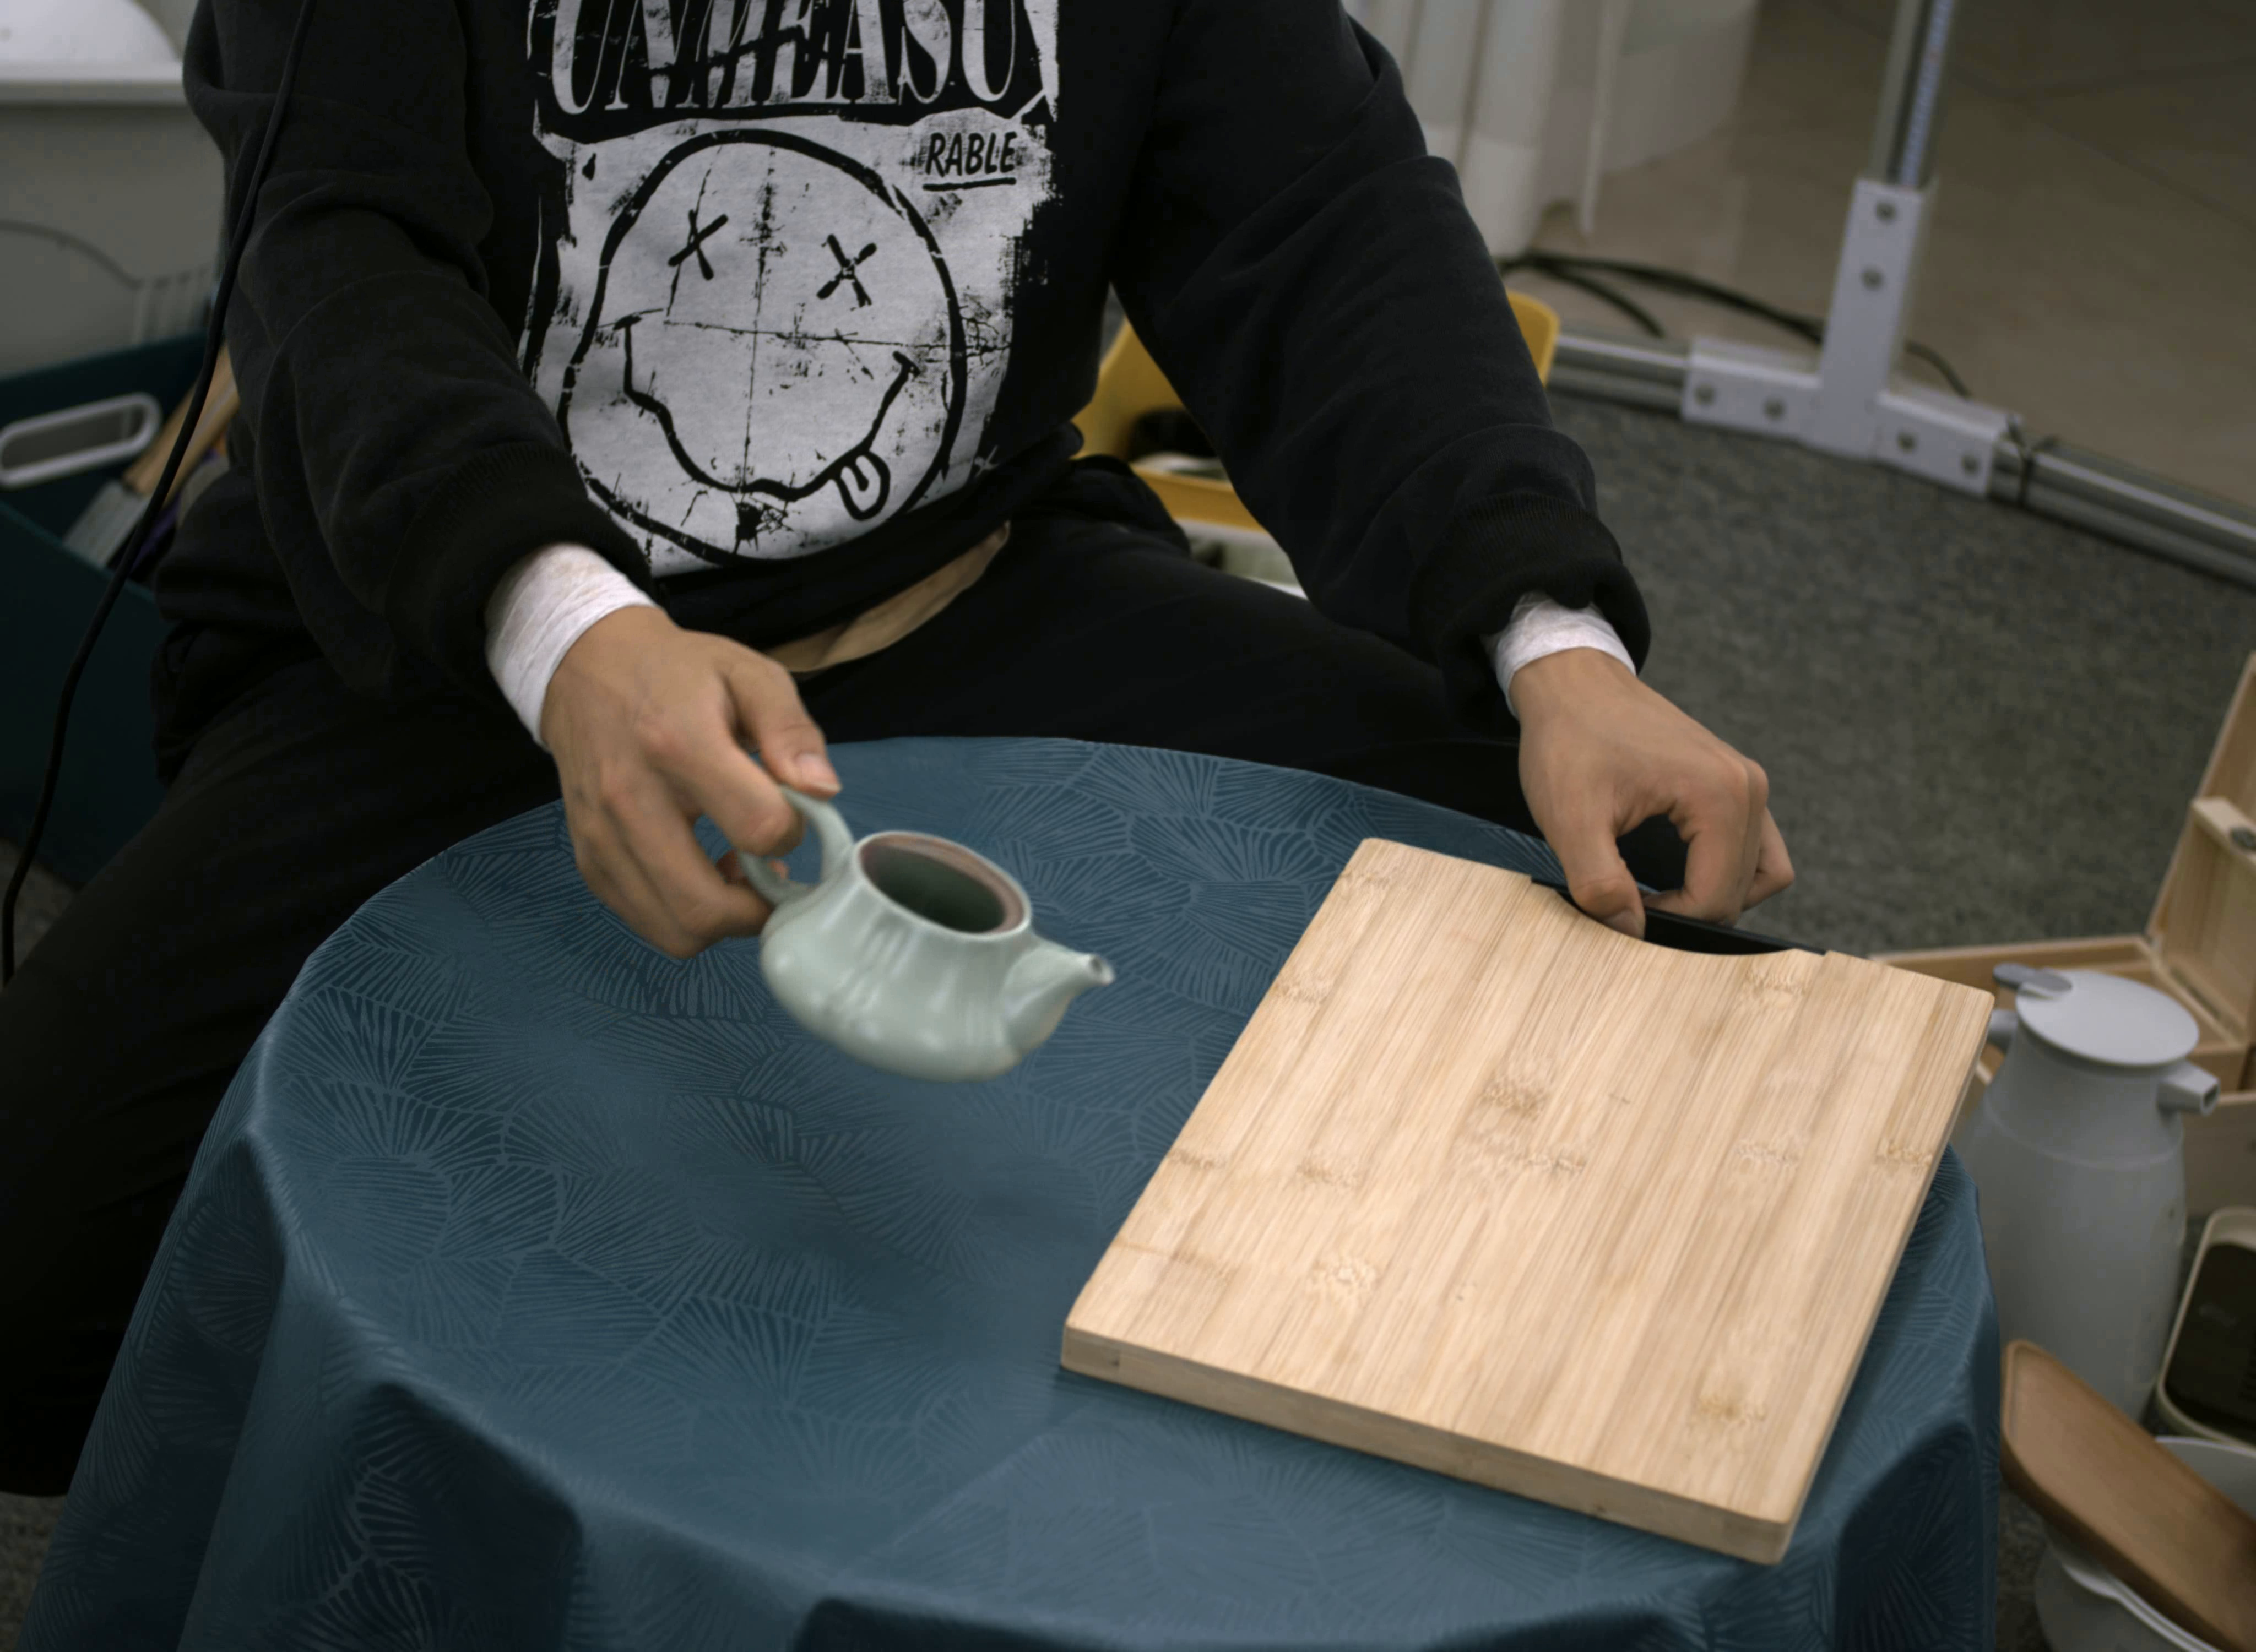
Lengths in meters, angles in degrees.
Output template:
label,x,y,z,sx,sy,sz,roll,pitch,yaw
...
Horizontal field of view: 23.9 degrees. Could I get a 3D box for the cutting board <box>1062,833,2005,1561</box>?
label,x,y,z,sx,sy,sz,roll,pitch,yaw
cutting board,0.147,0.116,1.814,0.251,0.023,0.349,13,31,13

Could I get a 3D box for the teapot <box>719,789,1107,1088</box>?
label,x,y,z,sx,sy,sz,roll,pitch,yaw
teapot,-0.076,0.039,1.729,0.137,0.061,0.096,29,27,12
